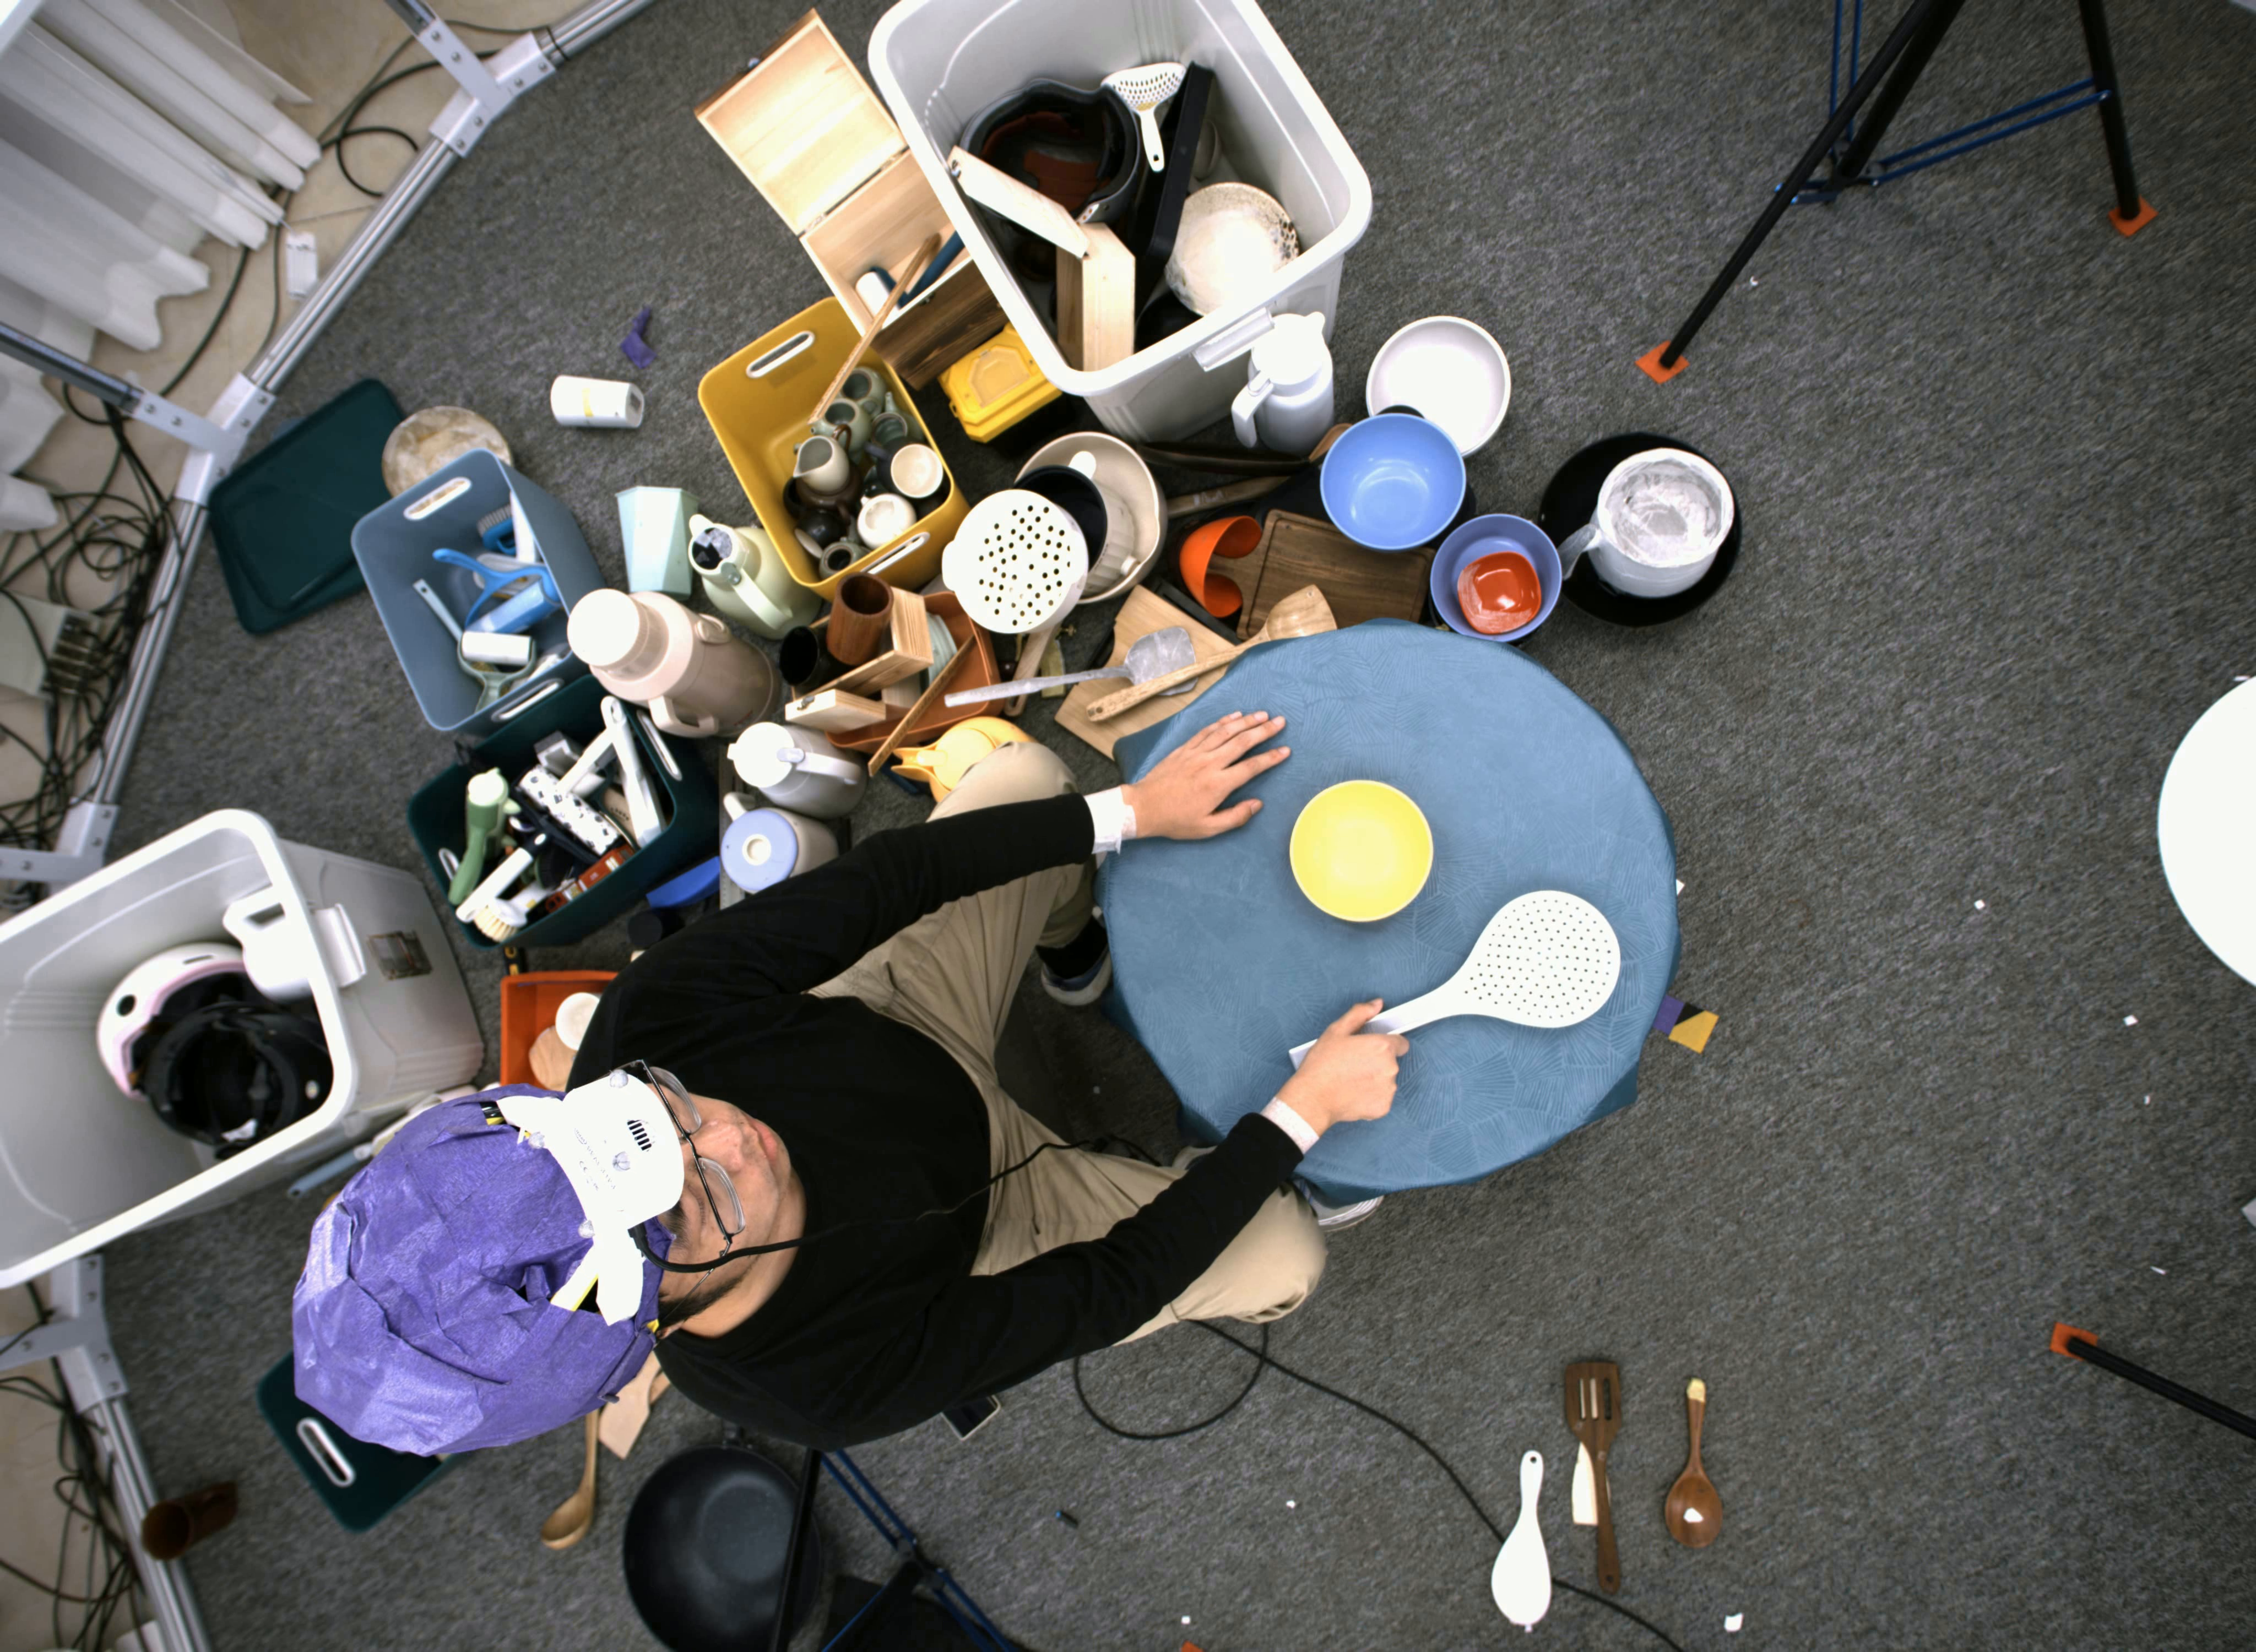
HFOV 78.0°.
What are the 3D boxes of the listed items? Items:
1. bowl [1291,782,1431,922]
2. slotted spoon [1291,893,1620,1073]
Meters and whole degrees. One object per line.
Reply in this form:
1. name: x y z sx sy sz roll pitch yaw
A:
1. bowl: 0.243 0.029 1.439 0.146 0.060 0.144 -1 84 10
2. slotted spoon: 0.331 0.177 1.419 0.352 0.045 0.135 -24 84 9
